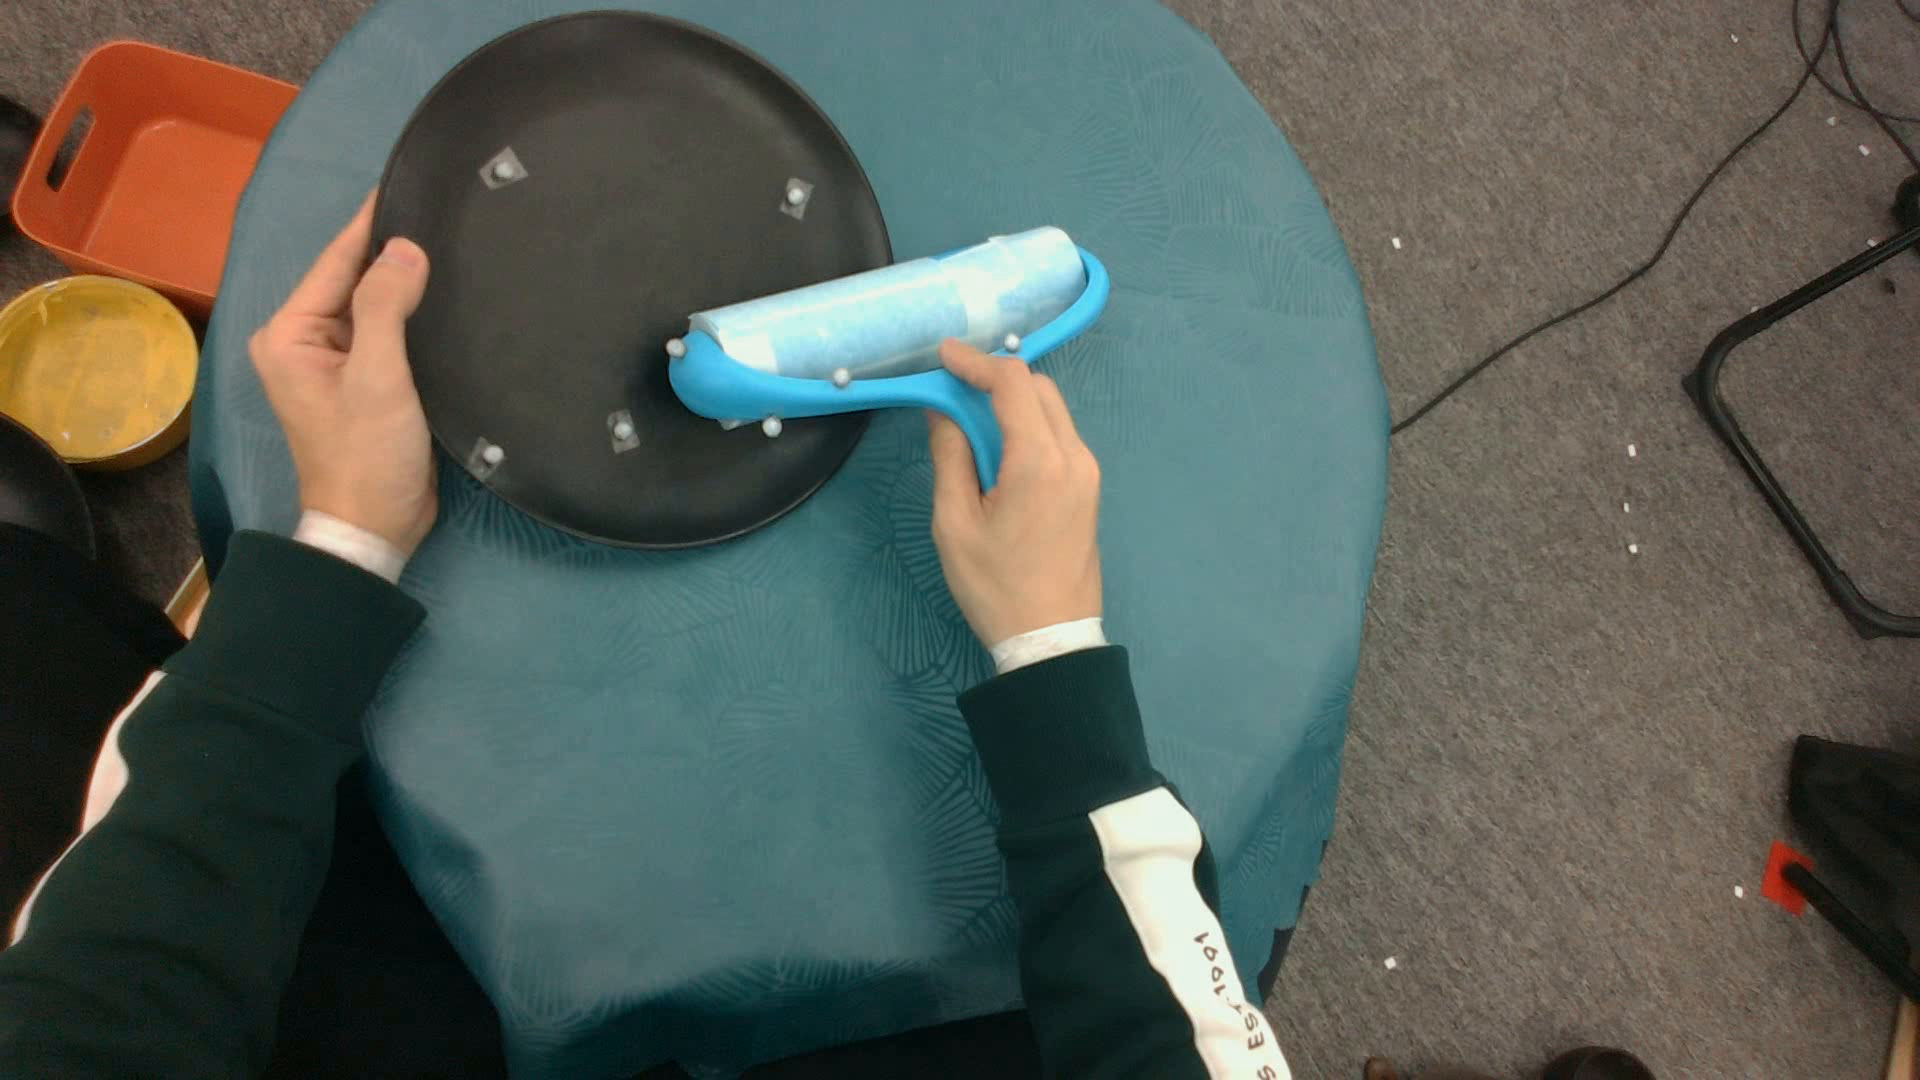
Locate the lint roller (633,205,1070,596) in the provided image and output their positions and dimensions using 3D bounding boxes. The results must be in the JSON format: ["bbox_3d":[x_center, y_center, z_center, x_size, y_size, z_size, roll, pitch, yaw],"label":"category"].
[{"bbox_3d":[-0.017,-0.063,0.647,0.230,0.067,0.180,-25,75,-30],"label":"lint roller"}]

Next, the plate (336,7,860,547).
[{"bbox_3d":[-0.156,-0.118,0.634,0.245,0.023,0.244,-1,91,-32],"label":"plate"}]
